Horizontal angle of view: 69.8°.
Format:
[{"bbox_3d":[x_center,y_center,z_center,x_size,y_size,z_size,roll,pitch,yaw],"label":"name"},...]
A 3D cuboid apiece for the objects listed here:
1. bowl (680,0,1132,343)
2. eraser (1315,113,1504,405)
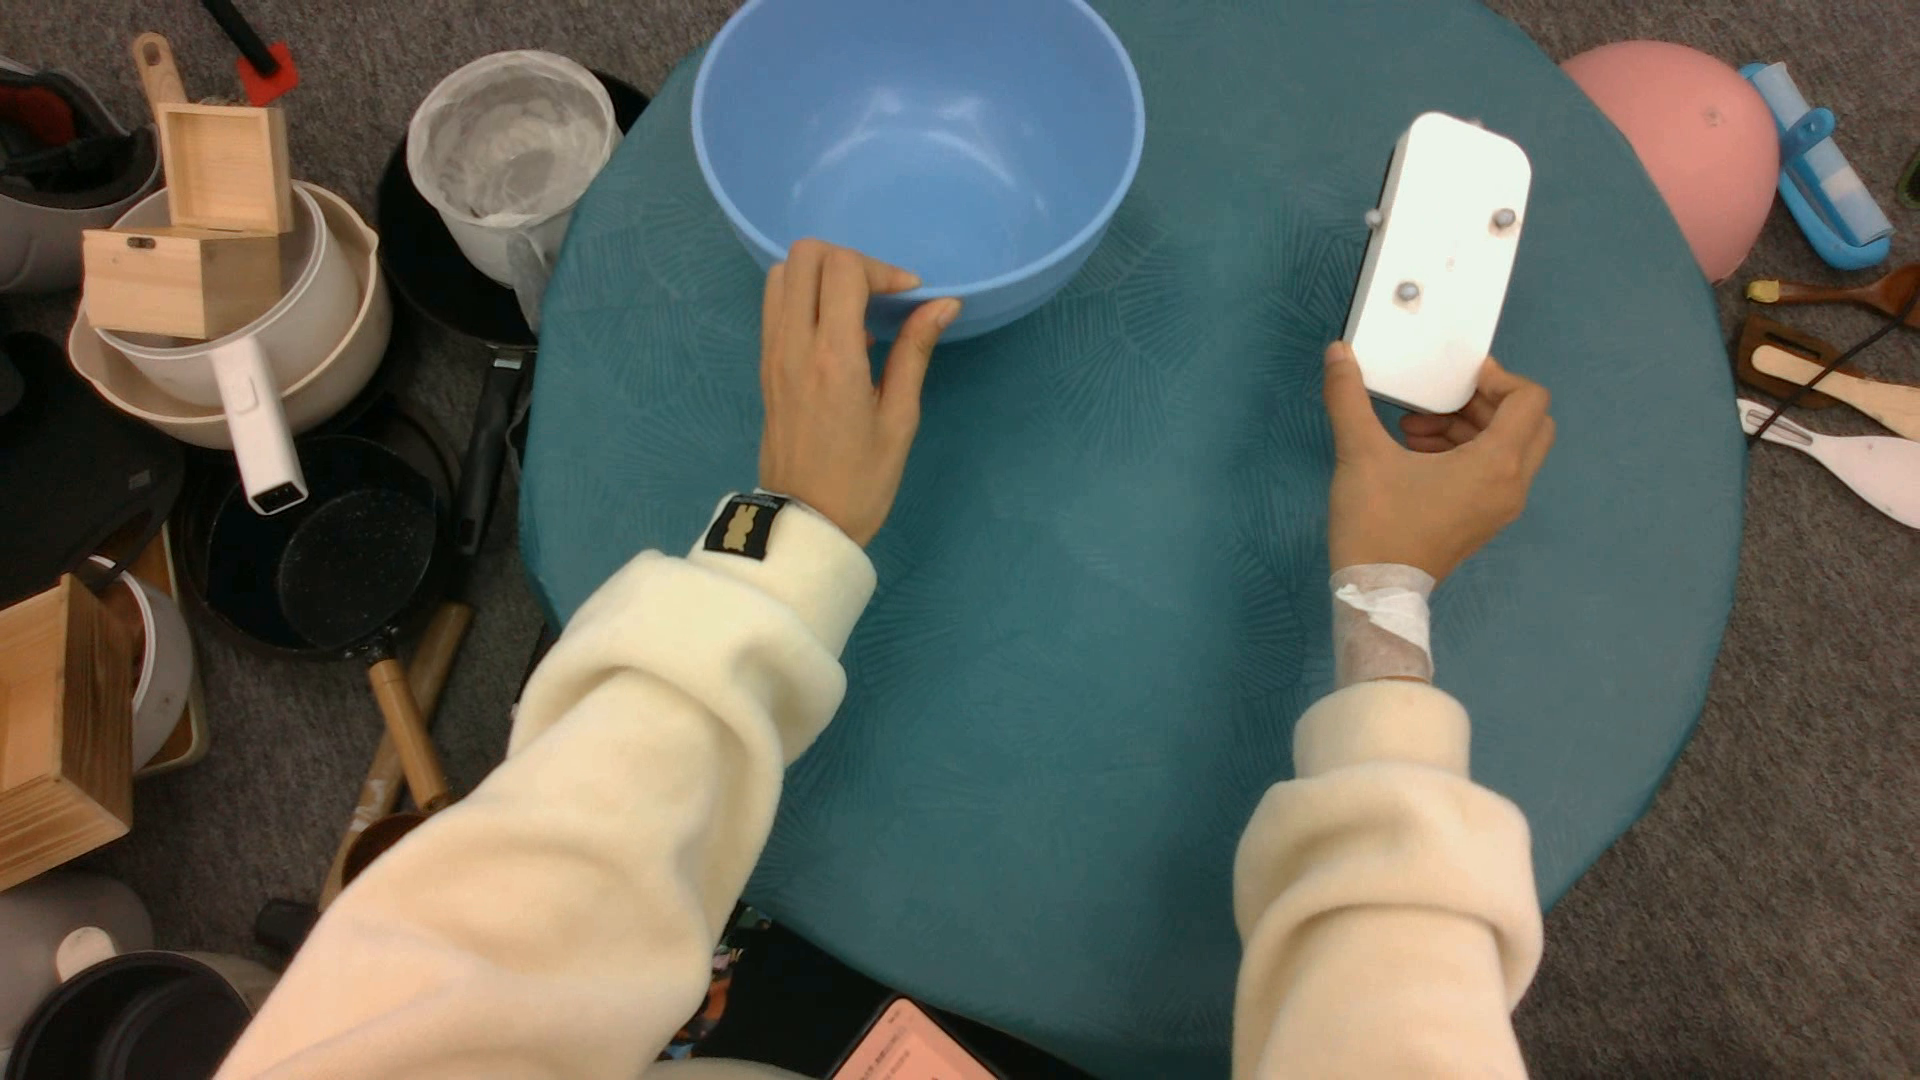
[{"bbox_3d":[-0.026,-0.163,0.637,0.196,0.095,0.197,3,59,-4],"label":"bowl"},{"bbox_3d":[0.205,-0.128,0.631,0.063,0.034,0.131,18,82,-8],"label":"eraser"}]
